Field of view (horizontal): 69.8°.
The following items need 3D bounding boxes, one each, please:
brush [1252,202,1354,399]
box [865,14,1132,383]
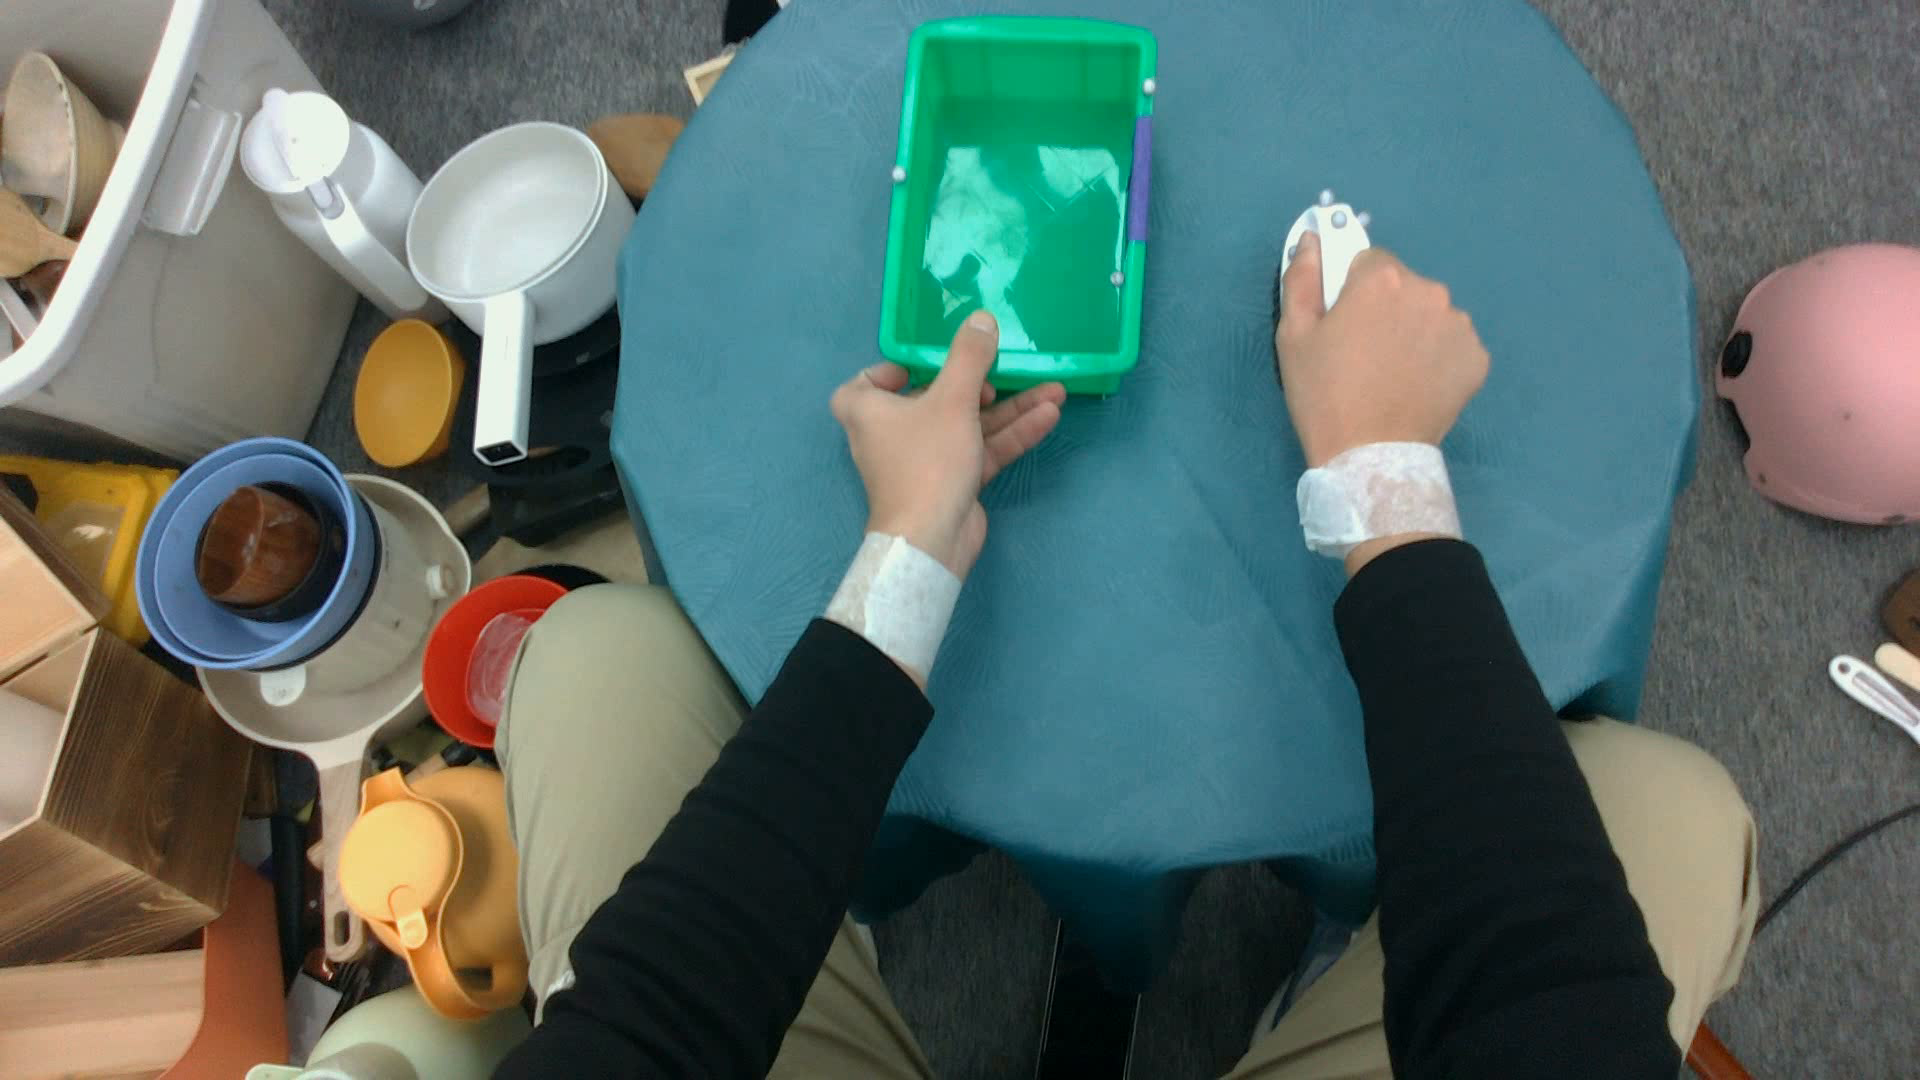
[{"bbox_3d":[0.187,-0.134,0.739,0.050,0.072,0.099,3,75,4],"label":"brush"},{"bbox_3d":[0.024,-0.186,0.771,0.138,0.065,0.211,2,74,2],"label":"box"}]
